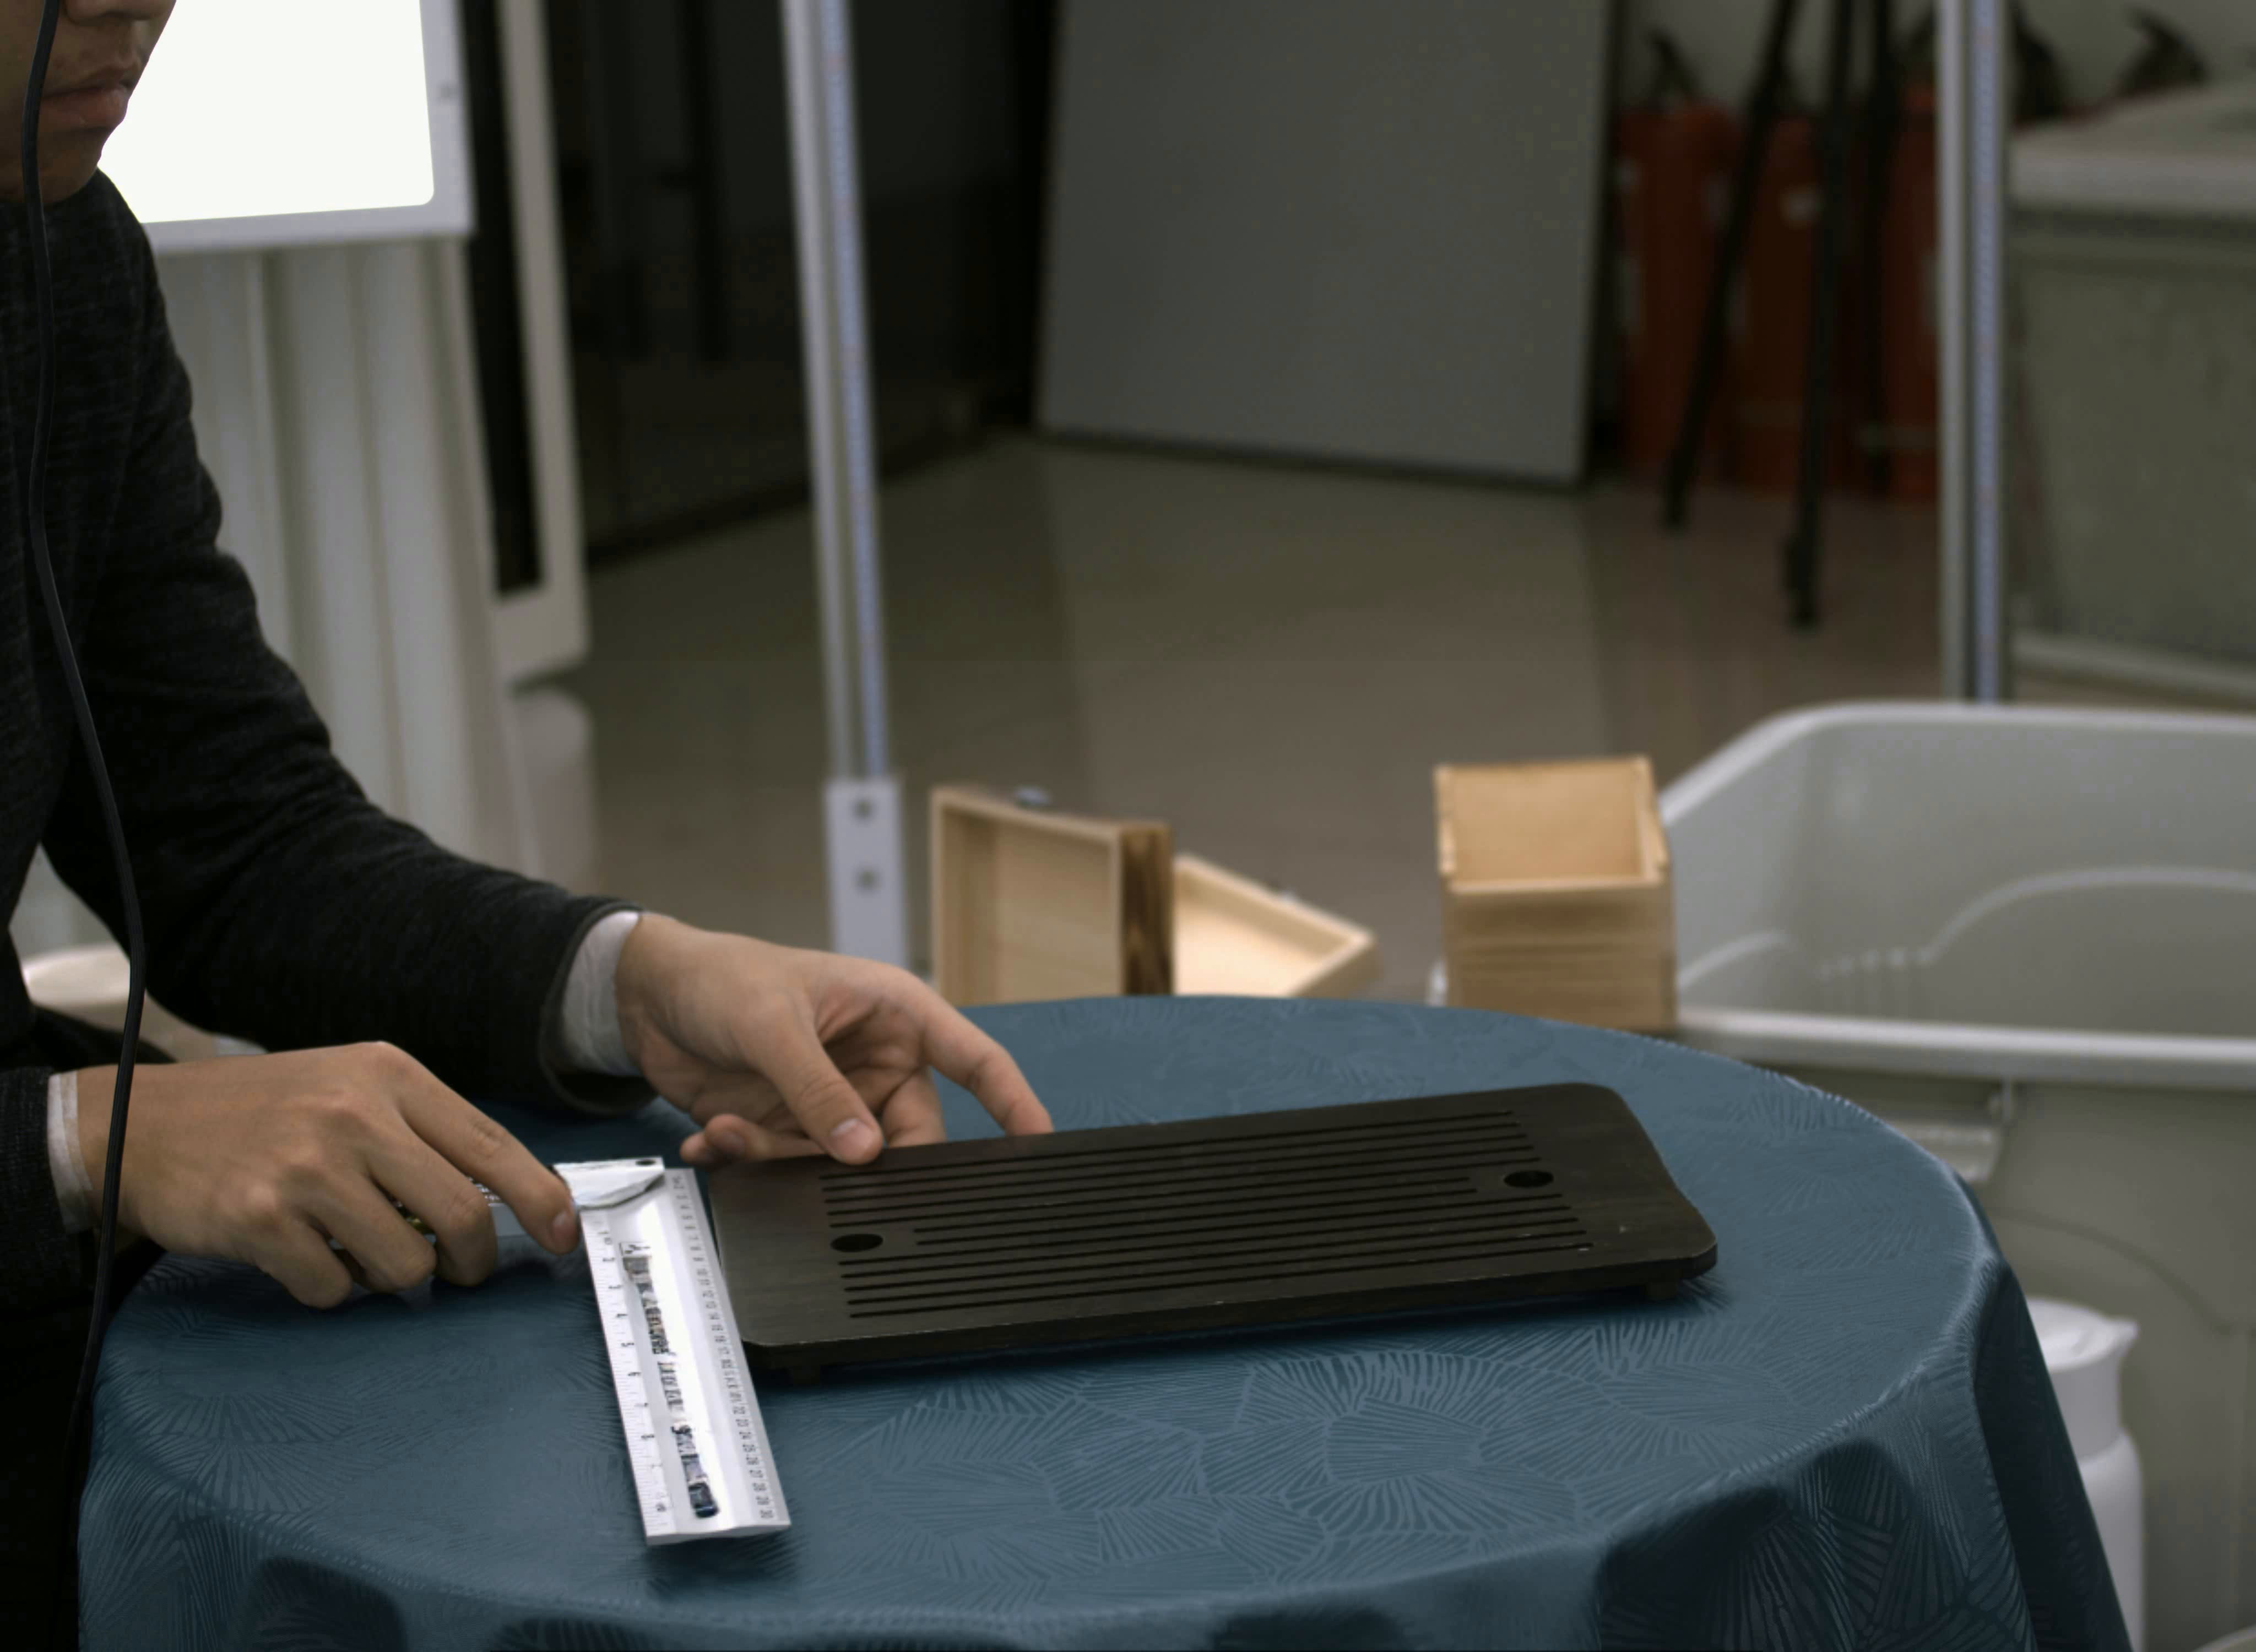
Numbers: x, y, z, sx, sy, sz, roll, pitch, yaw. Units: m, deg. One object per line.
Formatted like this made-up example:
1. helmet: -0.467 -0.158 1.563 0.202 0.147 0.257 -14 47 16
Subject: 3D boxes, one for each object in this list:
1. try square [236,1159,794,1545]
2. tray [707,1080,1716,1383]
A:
1. try square: -0.188 0.158 1.602 0.150 0.016 0.314 -6 15 -7
2. tray: 0.022 0.127 1.694 0.301 0.019 0.171 -6 16 -5
